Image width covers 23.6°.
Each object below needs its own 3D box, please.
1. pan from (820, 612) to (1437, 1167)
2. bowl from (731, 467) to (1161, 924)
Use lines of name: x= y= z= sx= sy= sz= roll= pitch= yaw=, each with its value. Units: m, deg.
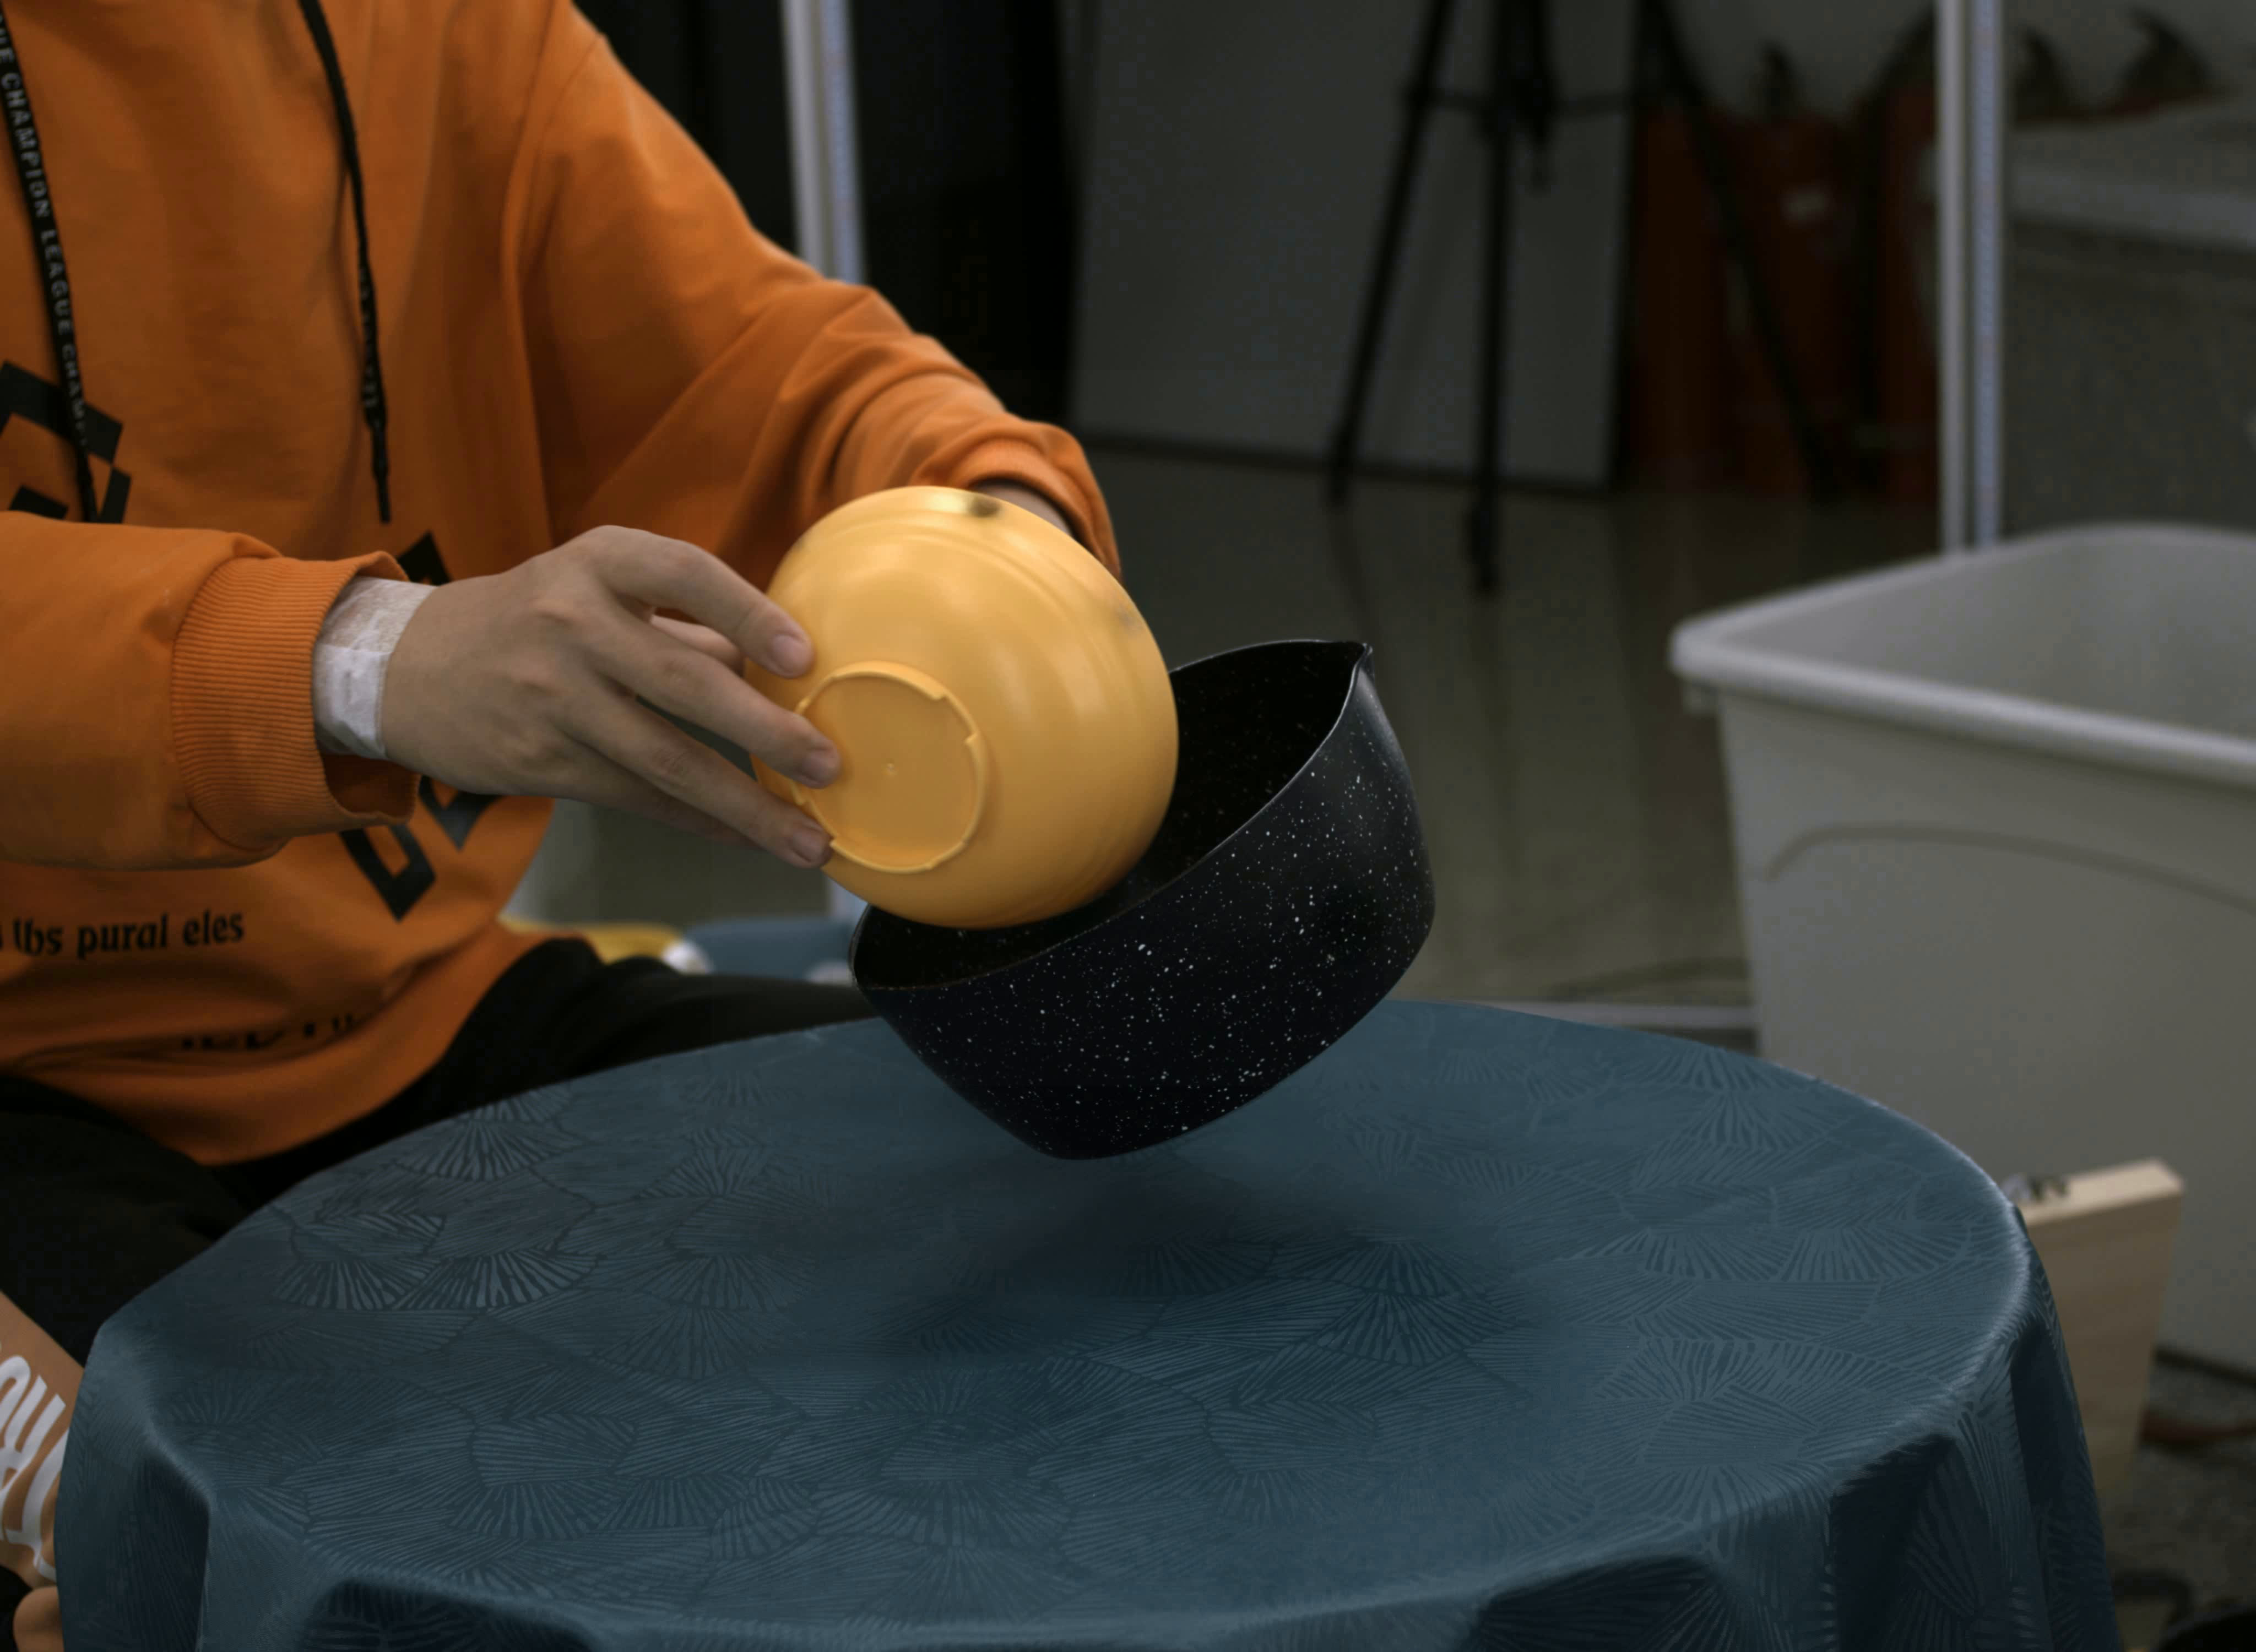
pan: x=-0.012 y=-0.001 z=1.770 sx=0.206 sy=0.108 sz=0.345 roll=-35 pitch=20 yaw=-3
bowl: x=-0.066 y=-0.030 z=1.630 sx=0.145 sy=0.146 sz=0.059 roll=3 pitch=22 yaw=26
